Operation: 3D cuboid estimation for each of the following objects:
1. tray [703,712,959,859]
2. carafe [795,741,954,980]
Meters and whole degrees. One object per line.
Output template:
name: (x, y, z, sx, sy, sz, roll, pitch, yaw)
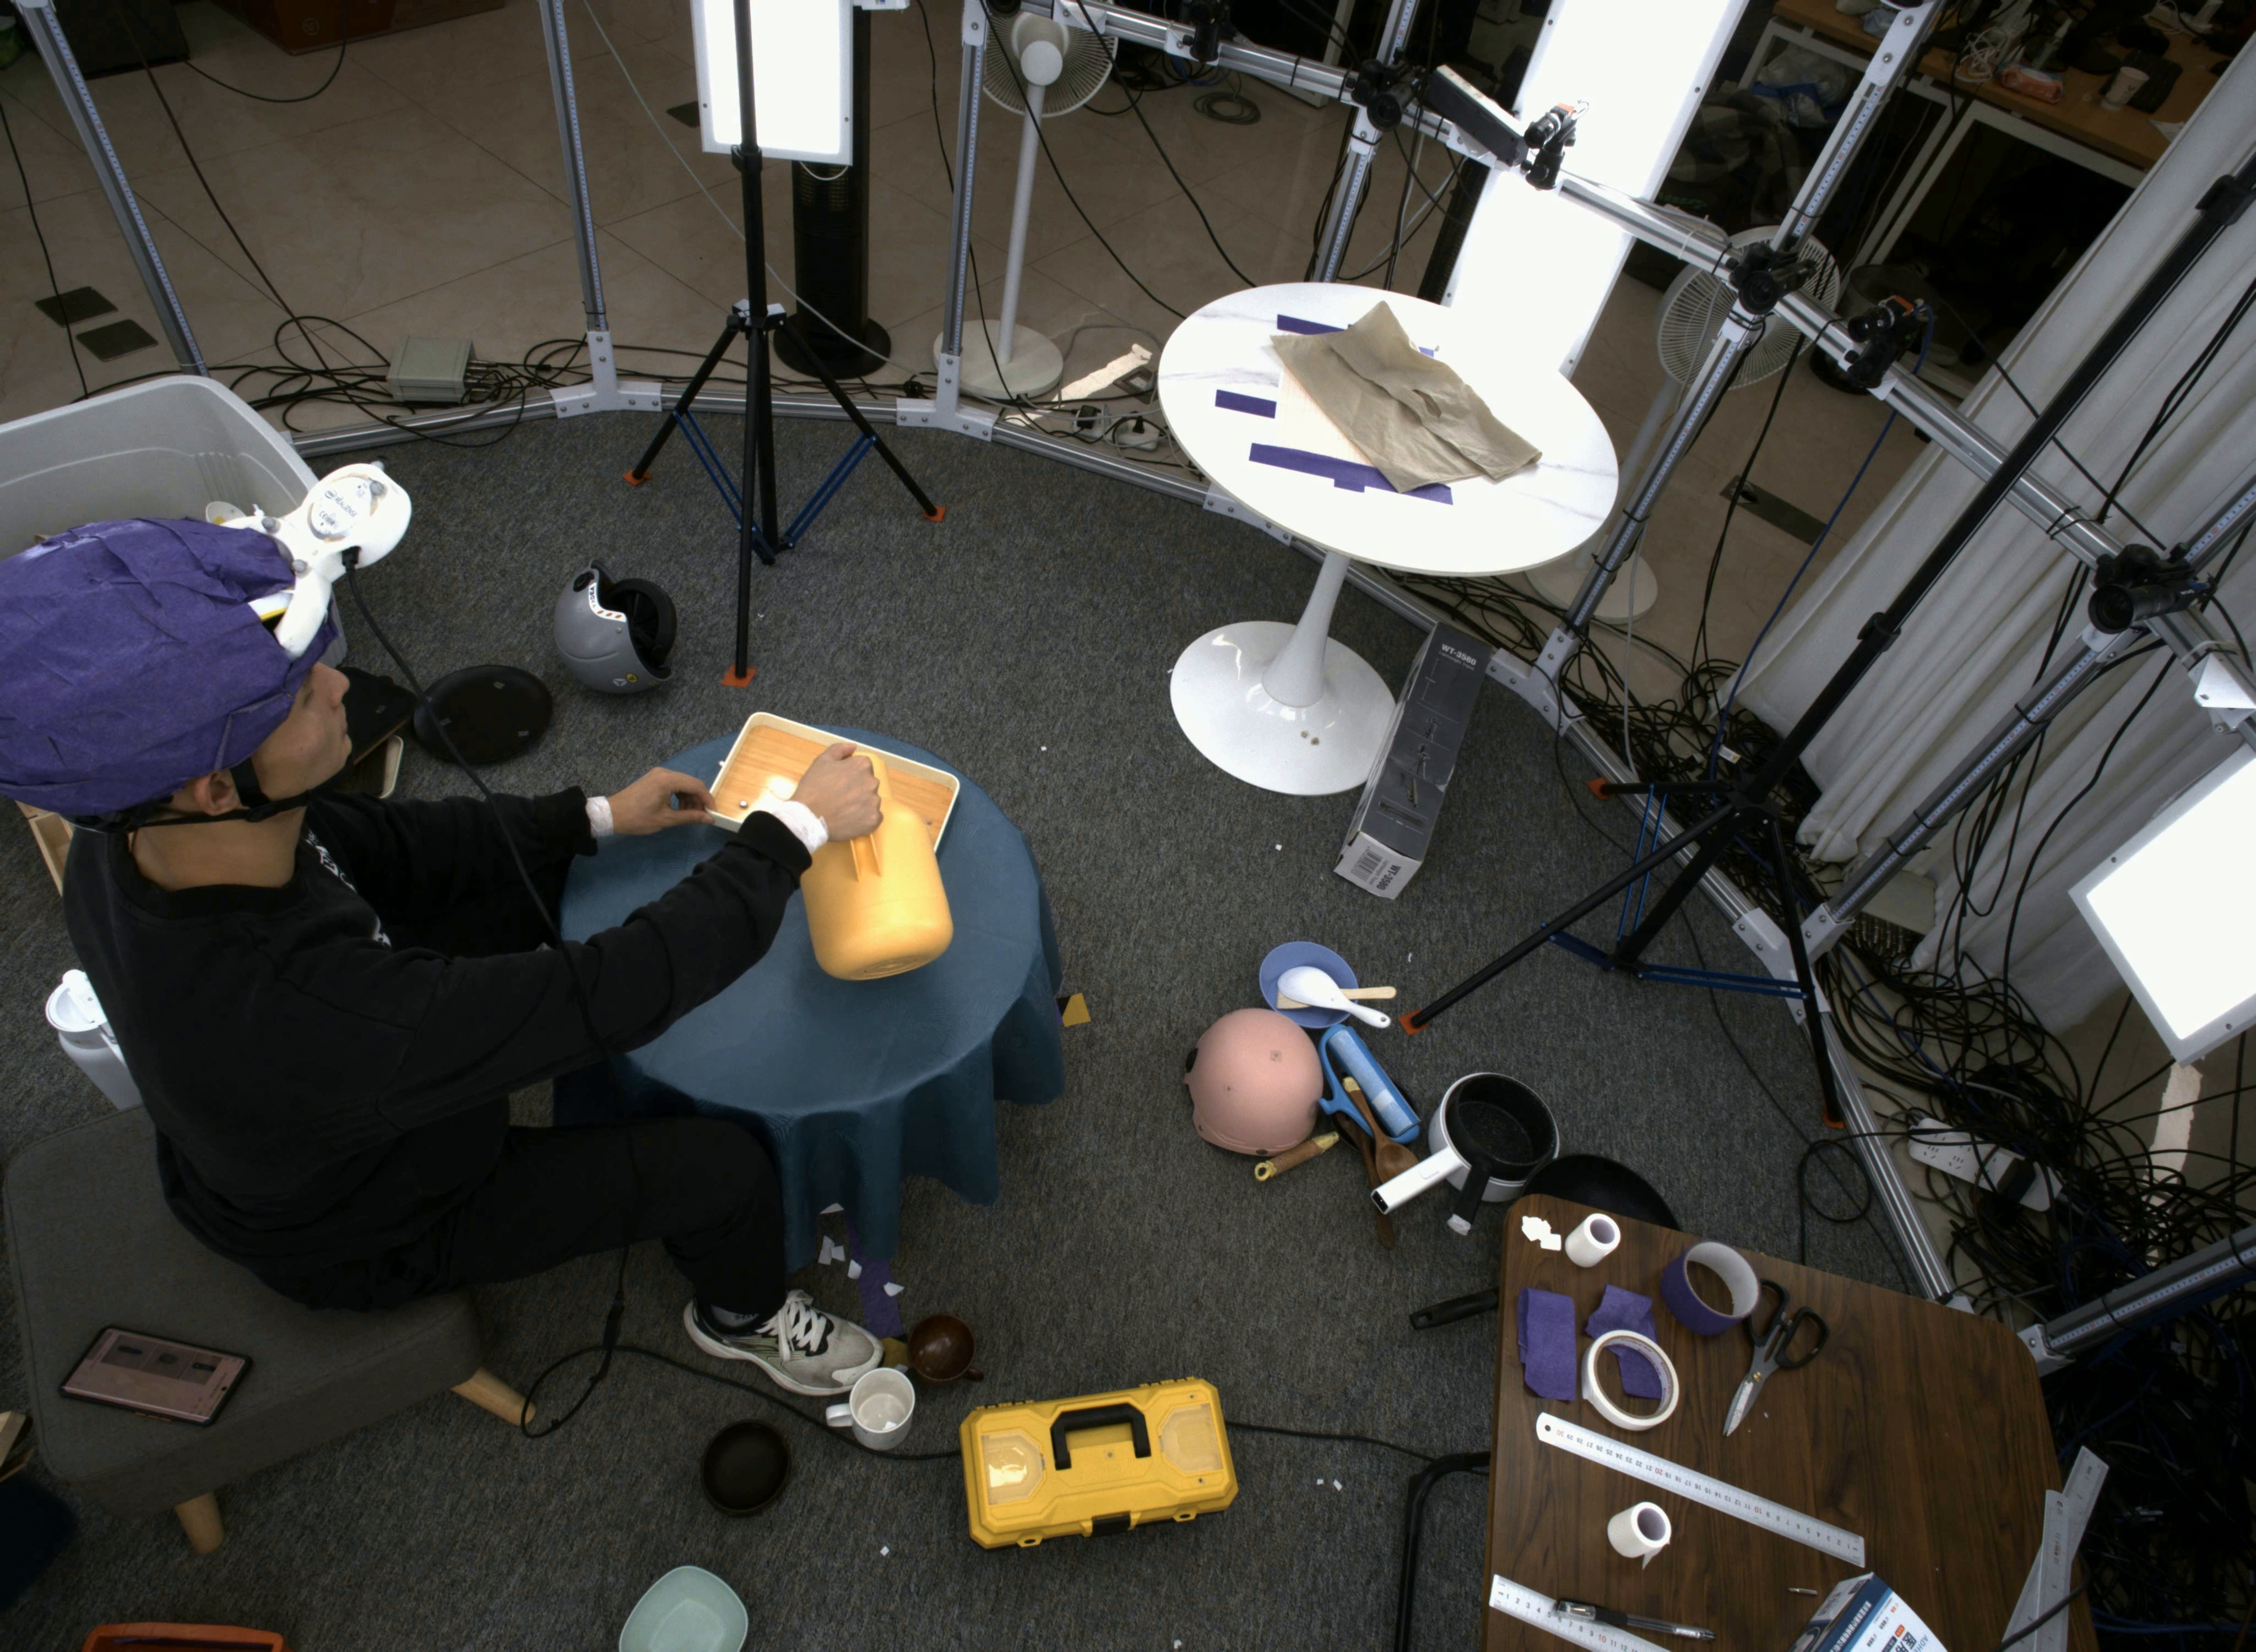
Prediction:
tray: (-0.389, -0.037, 1.721, 0.300, 0.028, 0.189, 19, 50, -7)
carafe: (-0.308, 0.032, 1.513, 0.163, 0.204, 0.259, -16, 76, -9)
